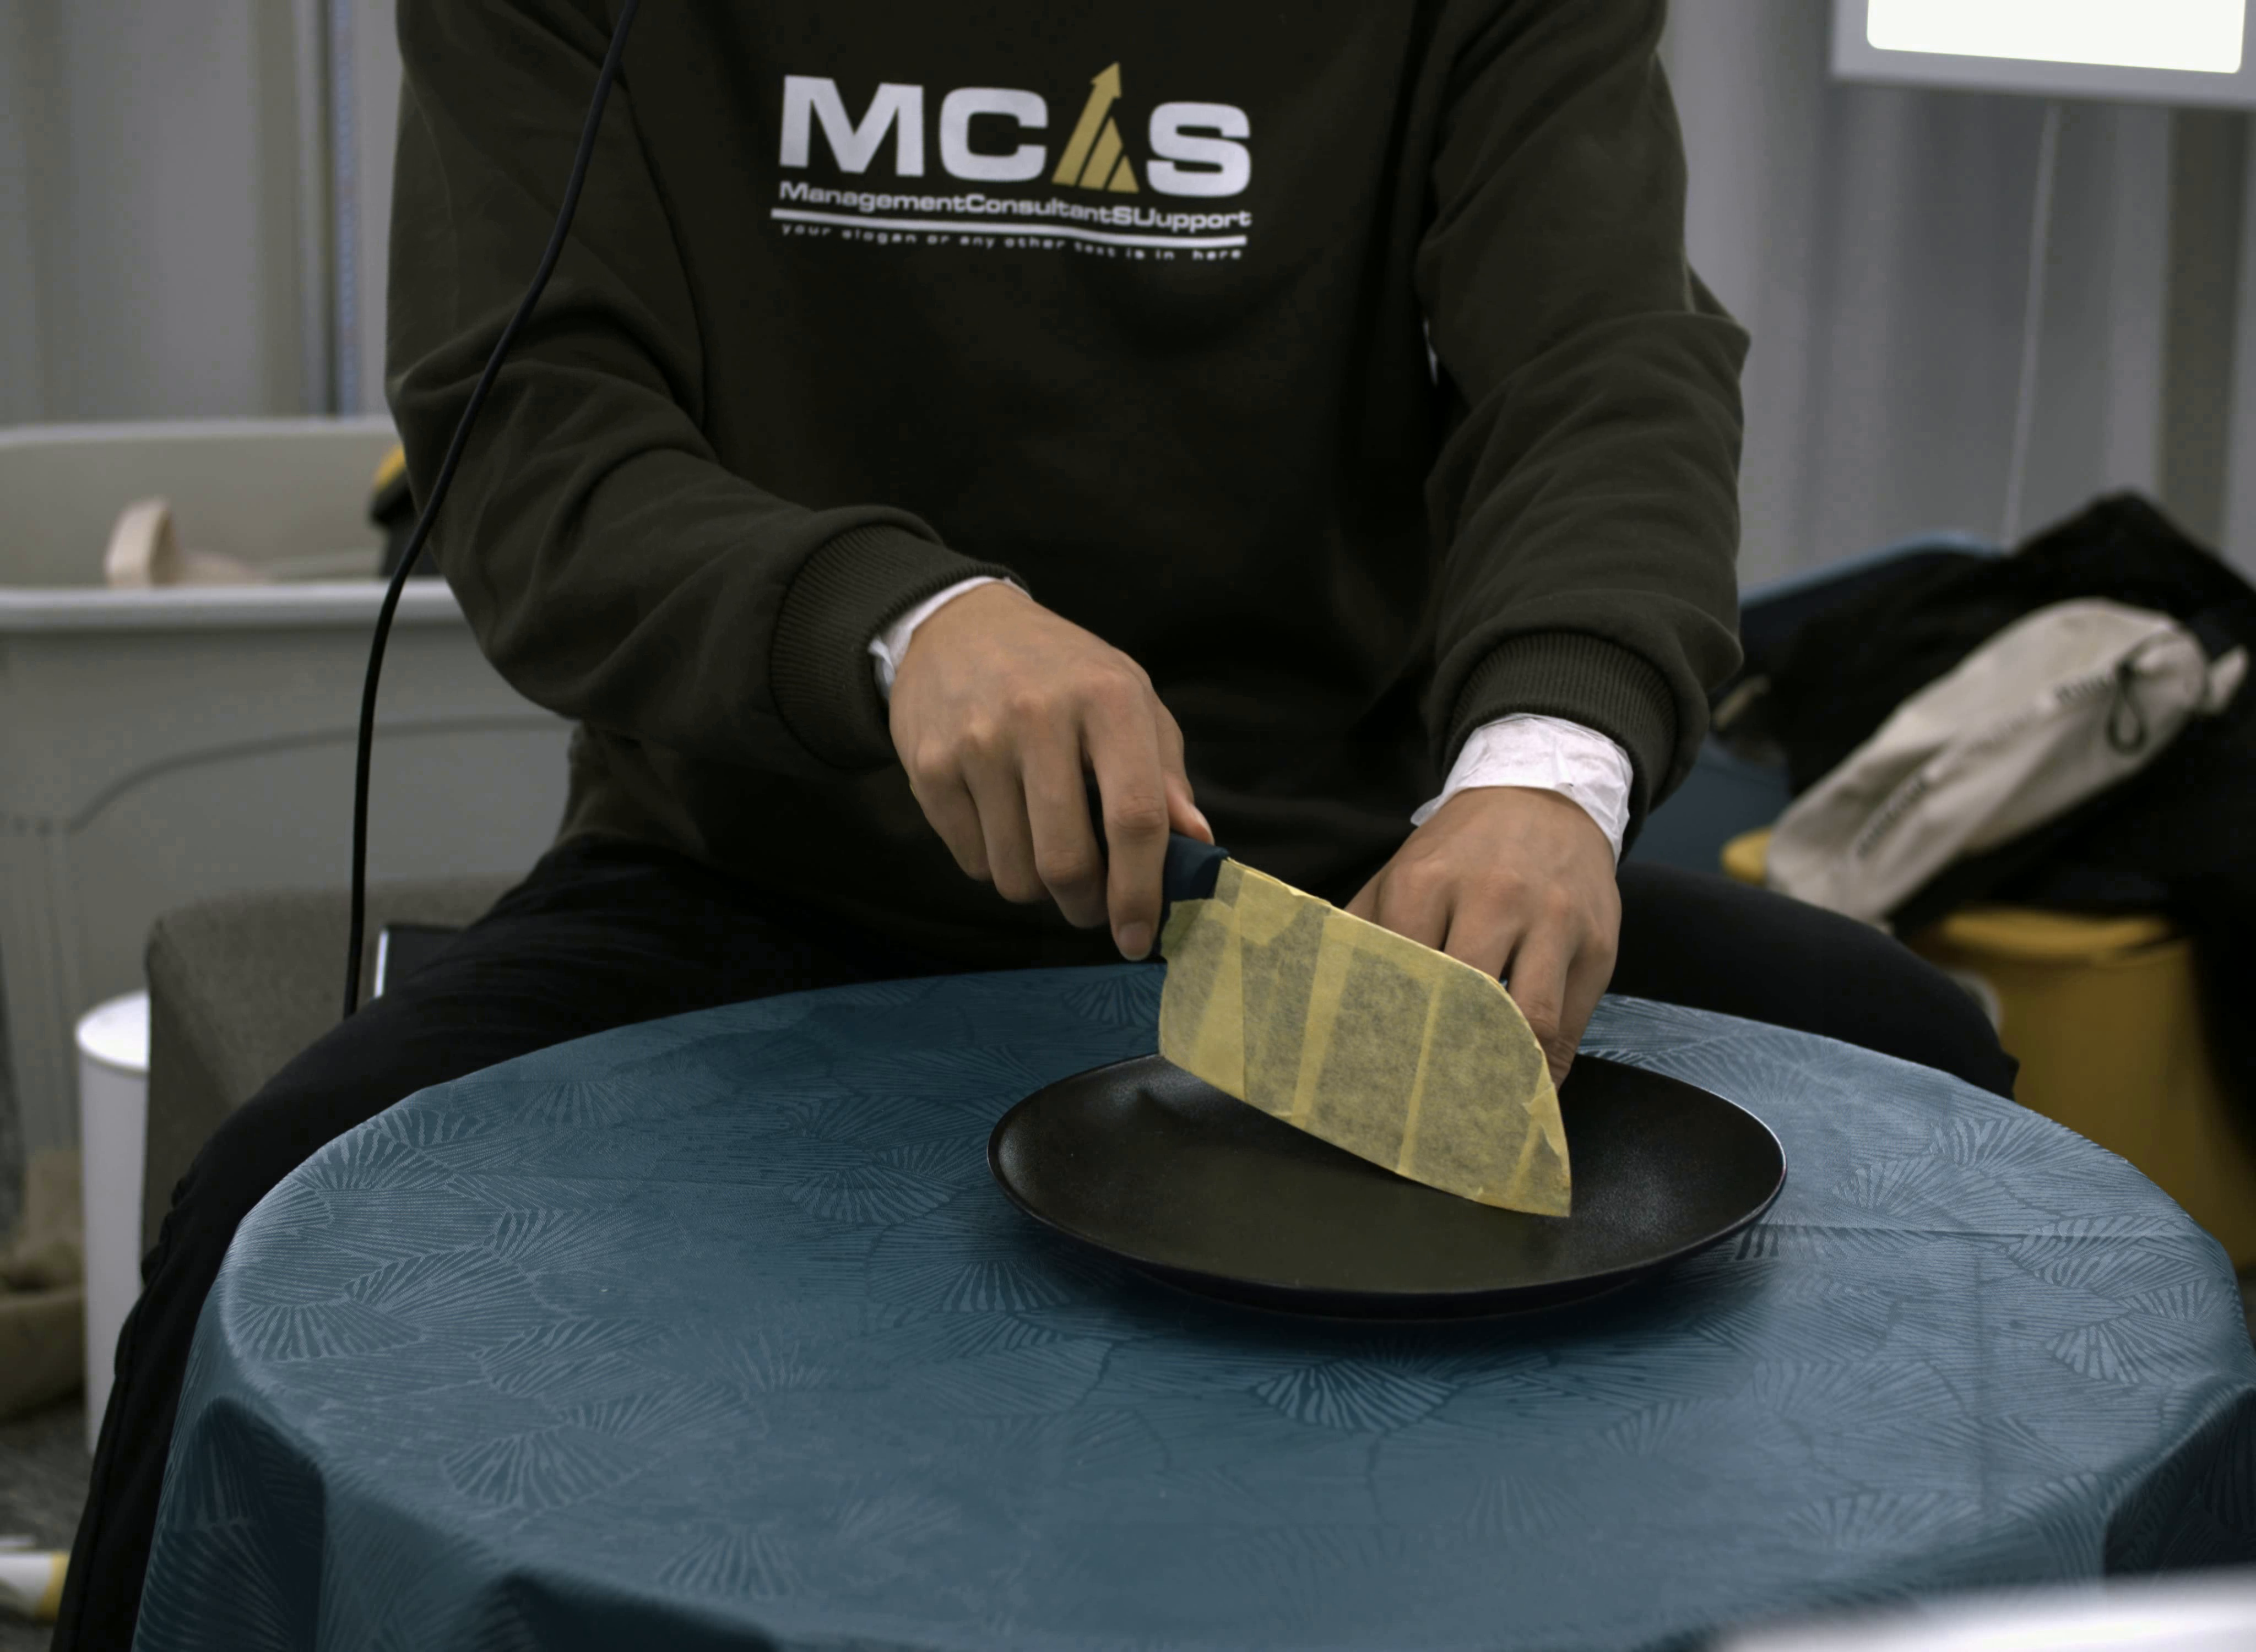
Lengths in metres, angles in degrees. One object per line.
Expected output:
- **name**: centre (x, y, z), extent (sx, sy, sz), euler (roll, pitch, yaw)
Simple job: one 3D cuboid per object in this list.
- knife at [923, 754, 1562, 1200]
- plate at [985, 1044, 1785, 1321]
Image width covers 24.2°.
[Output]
- **knife**: centre (0.032, 0.044, 1.654), extent (0.027, 0.081, 0.285), euler (-4, 24, -46)
- **plate**: centre (0.077, 0.108, 1.598), extent (0.243, 0.023, 0.243), euler (1, 15, 0)
